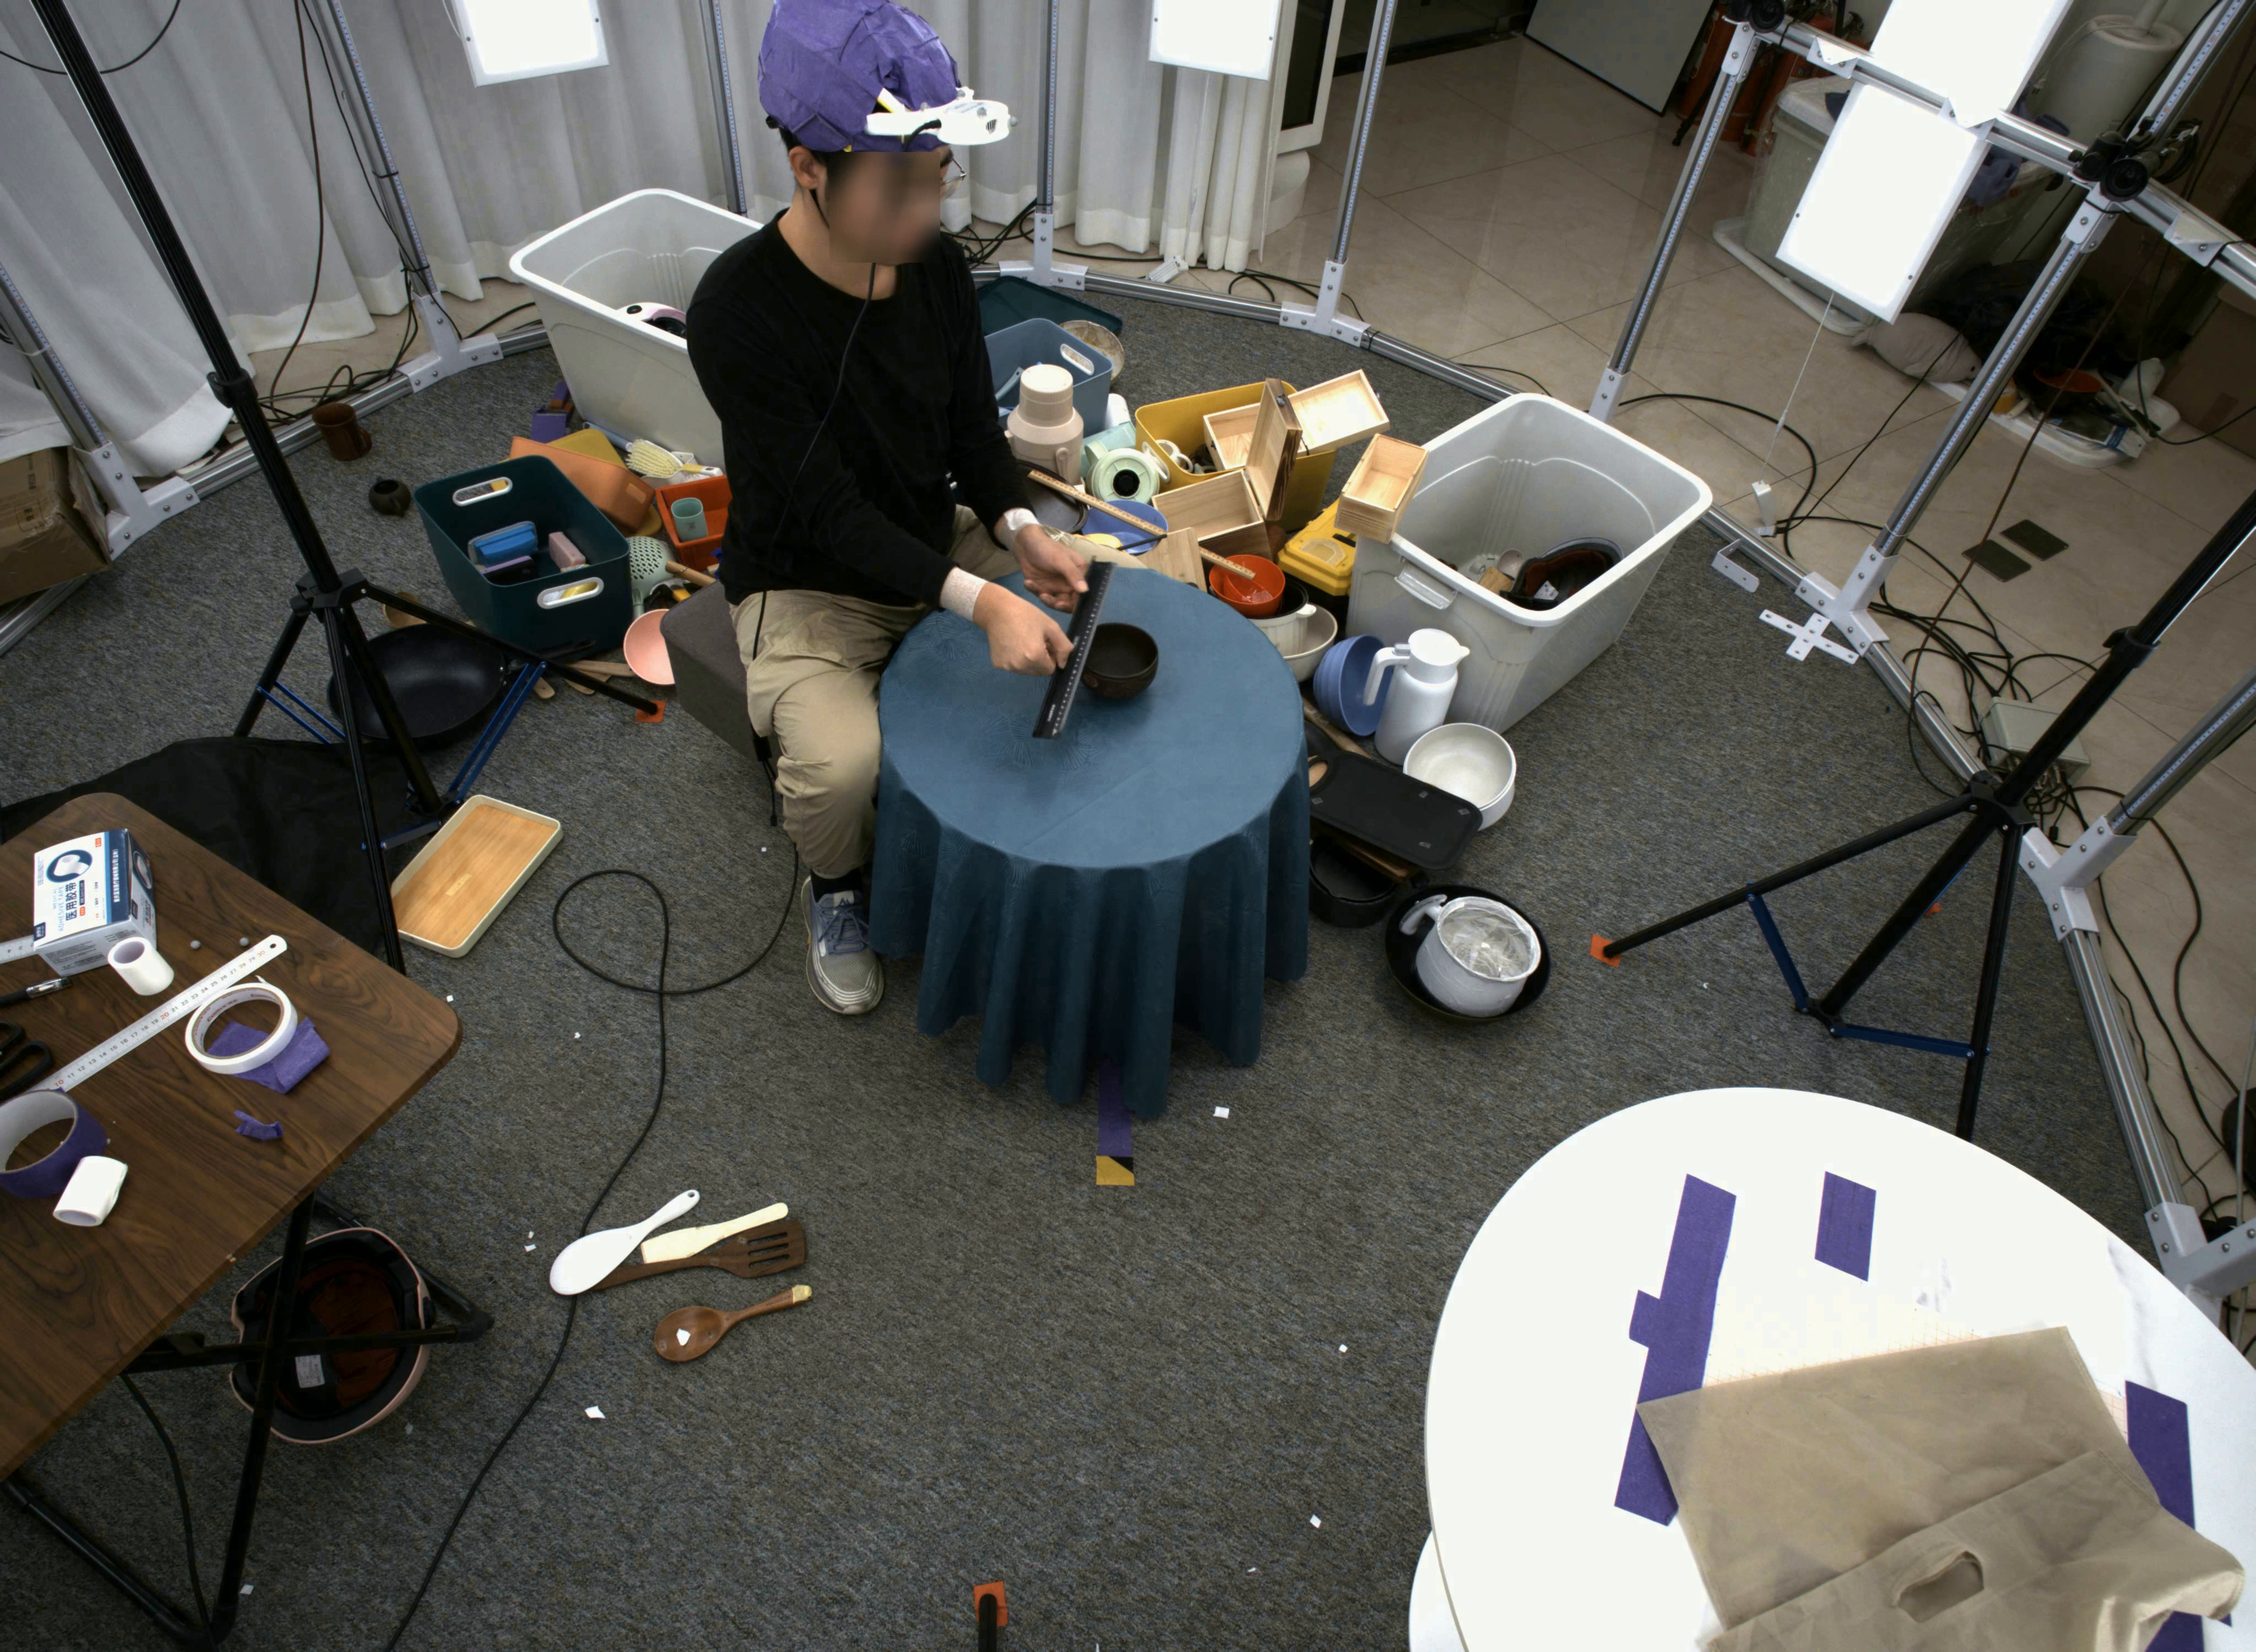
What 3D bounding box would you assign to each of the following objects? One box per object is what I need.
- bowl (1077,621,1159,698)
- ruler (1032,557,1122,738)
[{"bbox_3d":[-0.017,-0.228,1.819,0.118,0.068,0.121,2,49,-3],"label":"bowl"},{"bbox_3d":[-0.068,-0.248,1.745,0.039,0.017,0.319,9,57,14],"label":"ruler"}]
